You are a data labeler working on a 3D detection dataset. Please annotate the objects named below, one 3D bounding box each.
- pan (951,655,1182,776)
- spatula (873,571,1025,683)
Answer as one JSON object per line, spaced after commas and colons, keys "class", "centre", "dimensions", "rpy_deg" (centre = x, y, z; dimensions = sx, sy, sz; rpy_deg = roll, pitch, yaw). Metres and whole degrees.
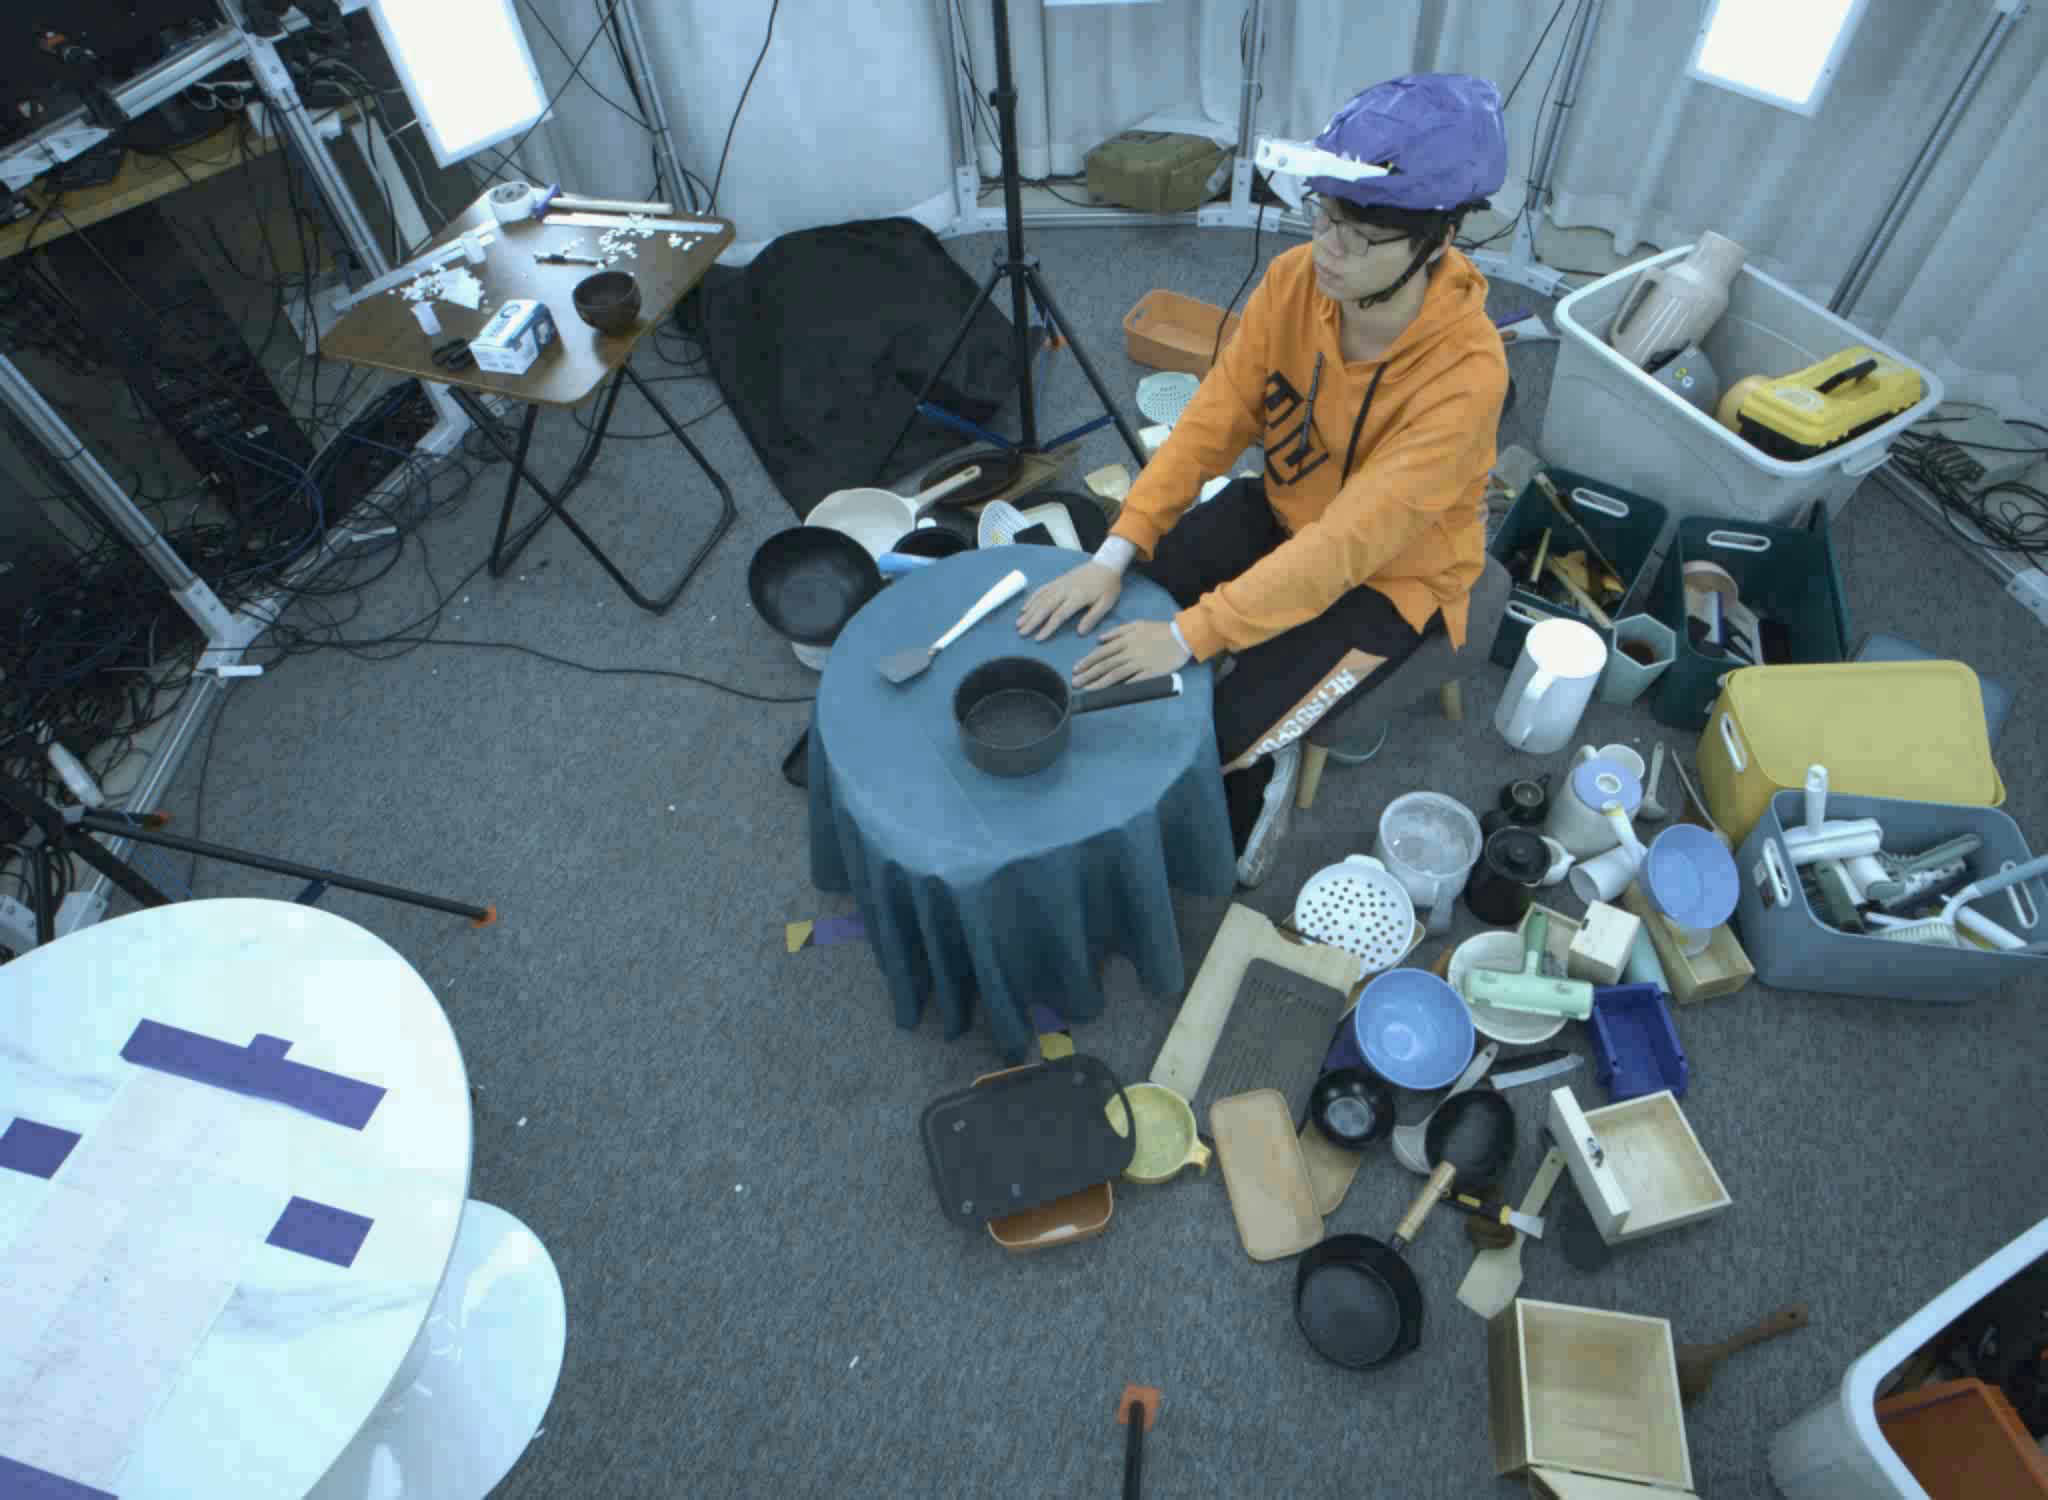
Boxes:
{"class": "pan", "centre": [0.063, -0.056, 1.772], "dimensions": [0.328, 0.087, 0.170], "rpy_deg": [-4, 55, 1]}
{"class": "spatula", "centre": [-0.111, -0.190, 1.906], "dimensions": [0.289, 0.032, 0.058], "rpy_deg": [-39, 65, -24]}
